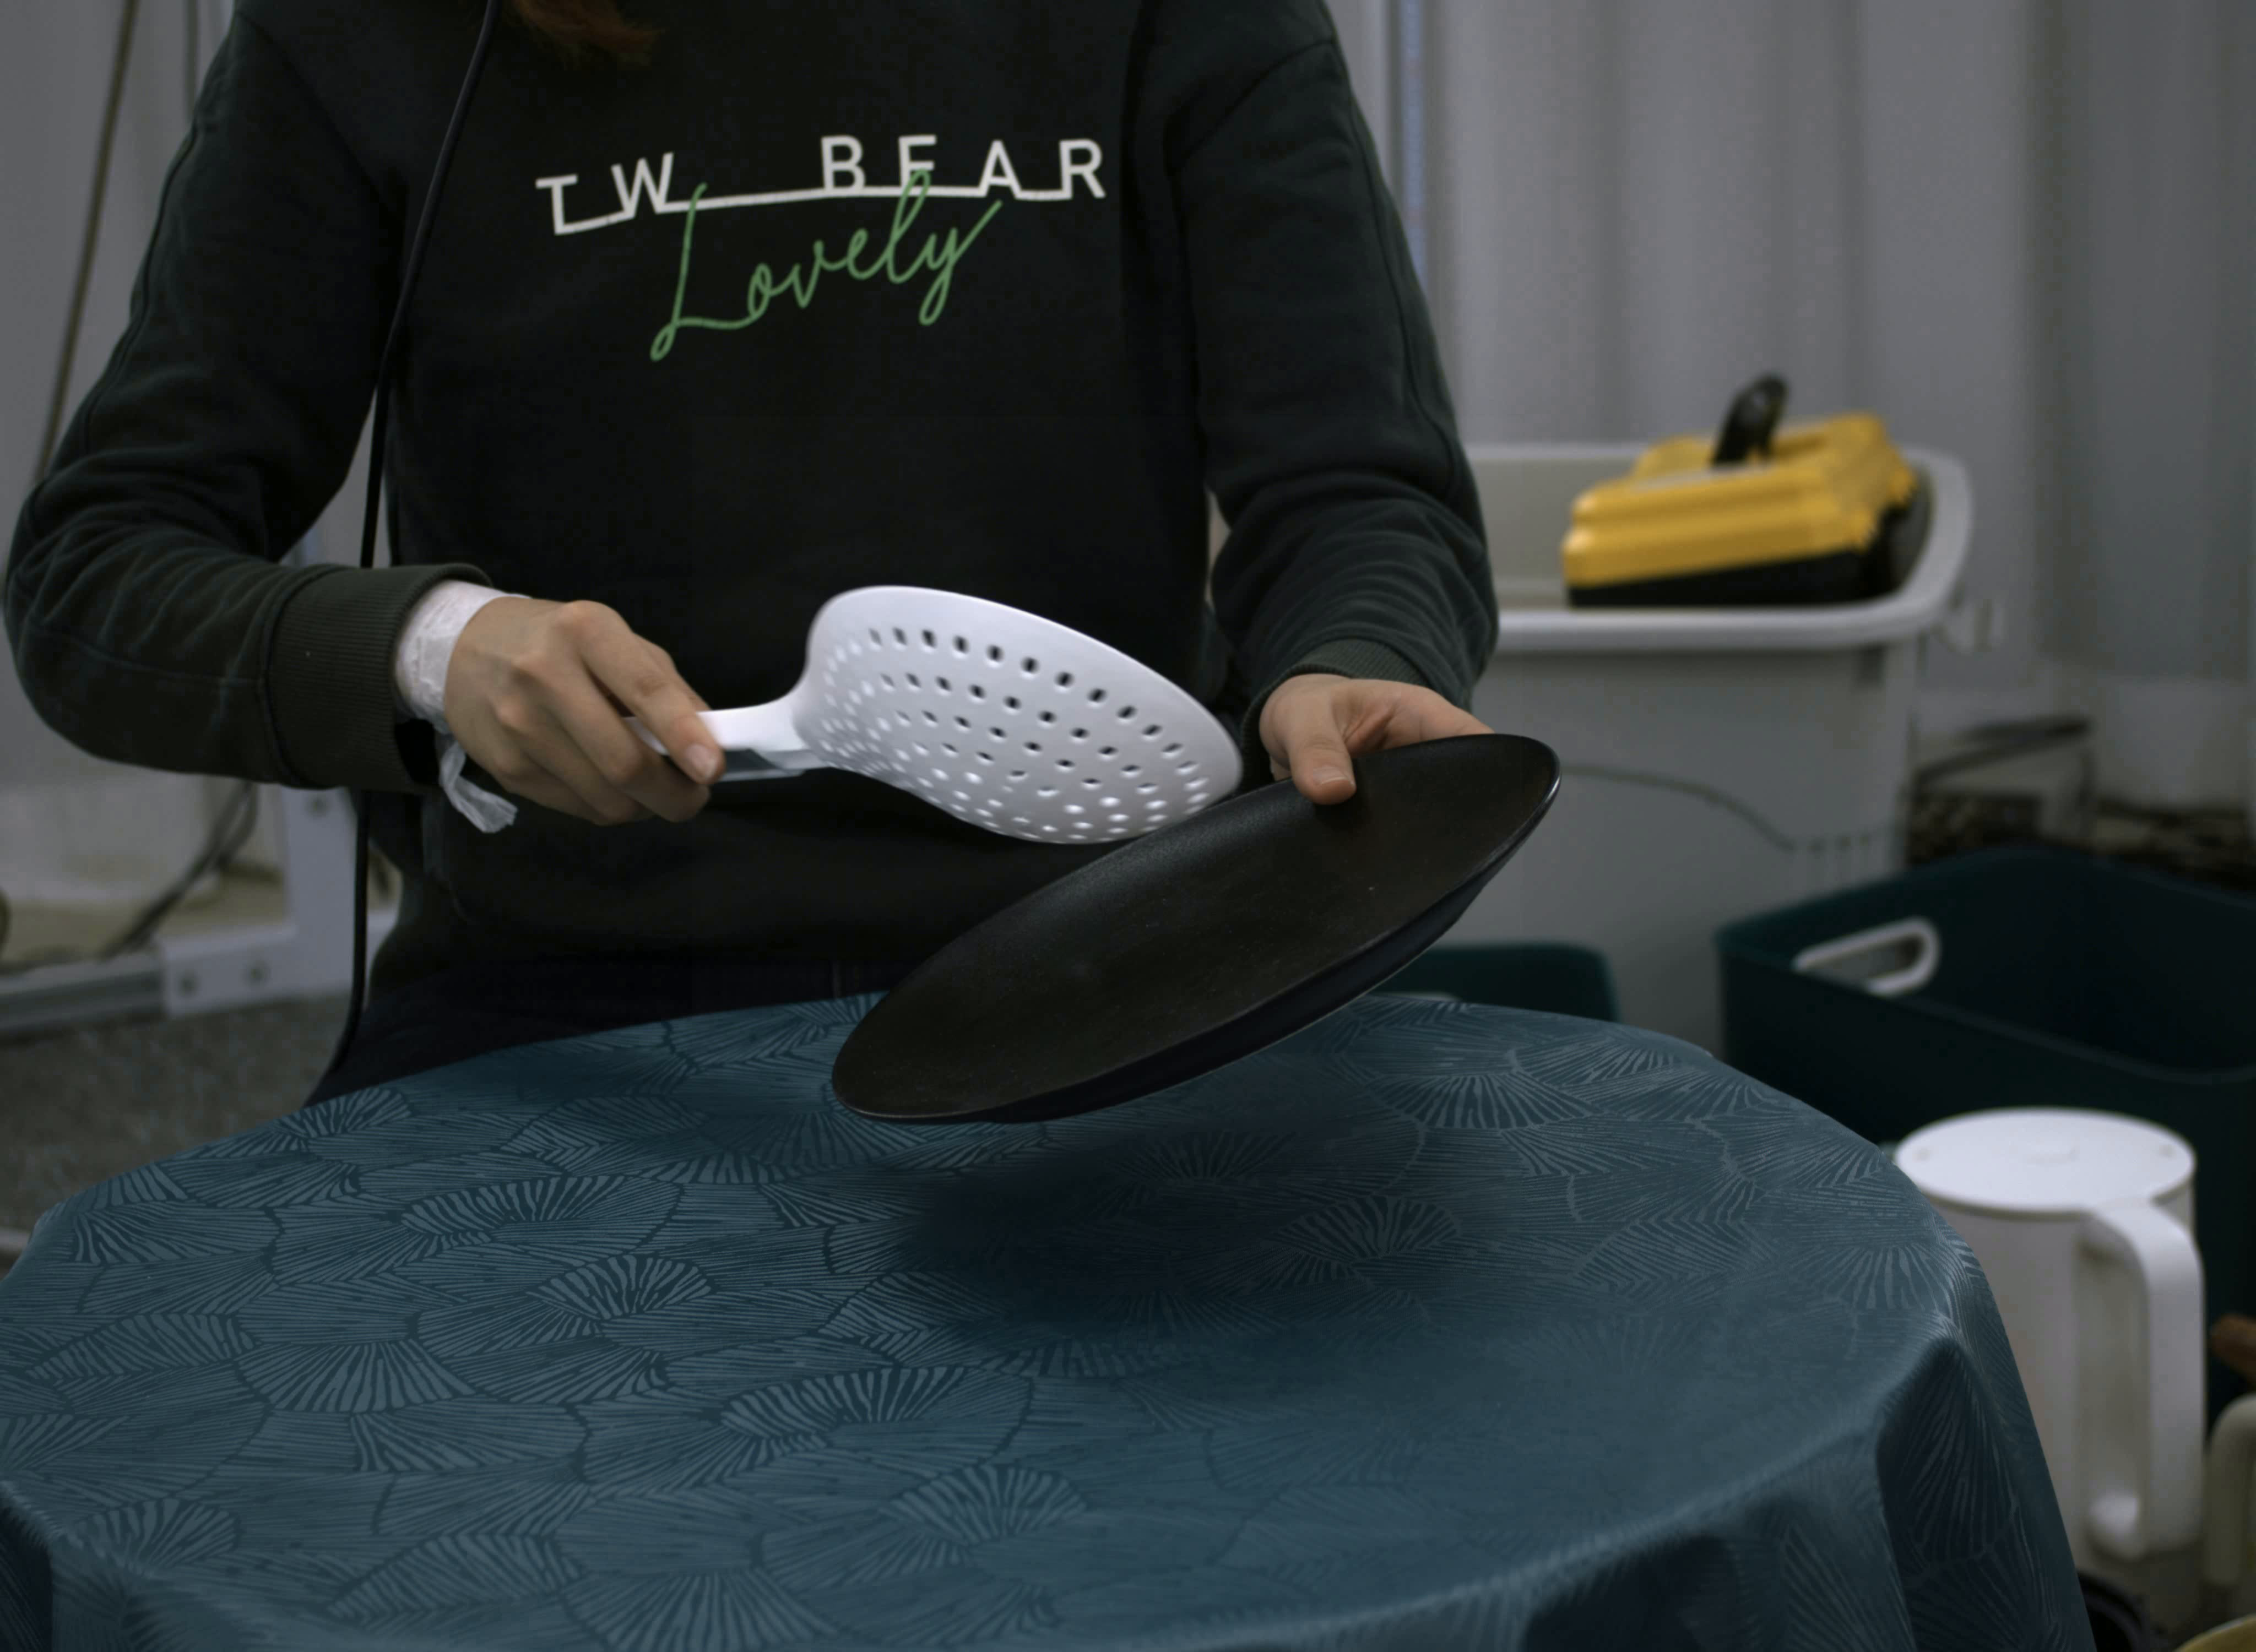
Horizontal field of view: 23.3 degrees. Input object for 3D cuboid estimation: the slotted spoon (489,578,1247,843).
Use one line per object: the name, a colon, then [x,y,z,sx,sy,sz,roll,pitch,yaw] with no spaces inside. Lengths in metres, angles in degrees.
slotted spoon: [-0.099,-0.028,1.746,0.134,0.046,0.351,36,-20,-33]

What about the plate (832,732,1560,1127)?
plate: [0.024,0.037,1.667,0.244,0.023,0.246,-24,14,5]
